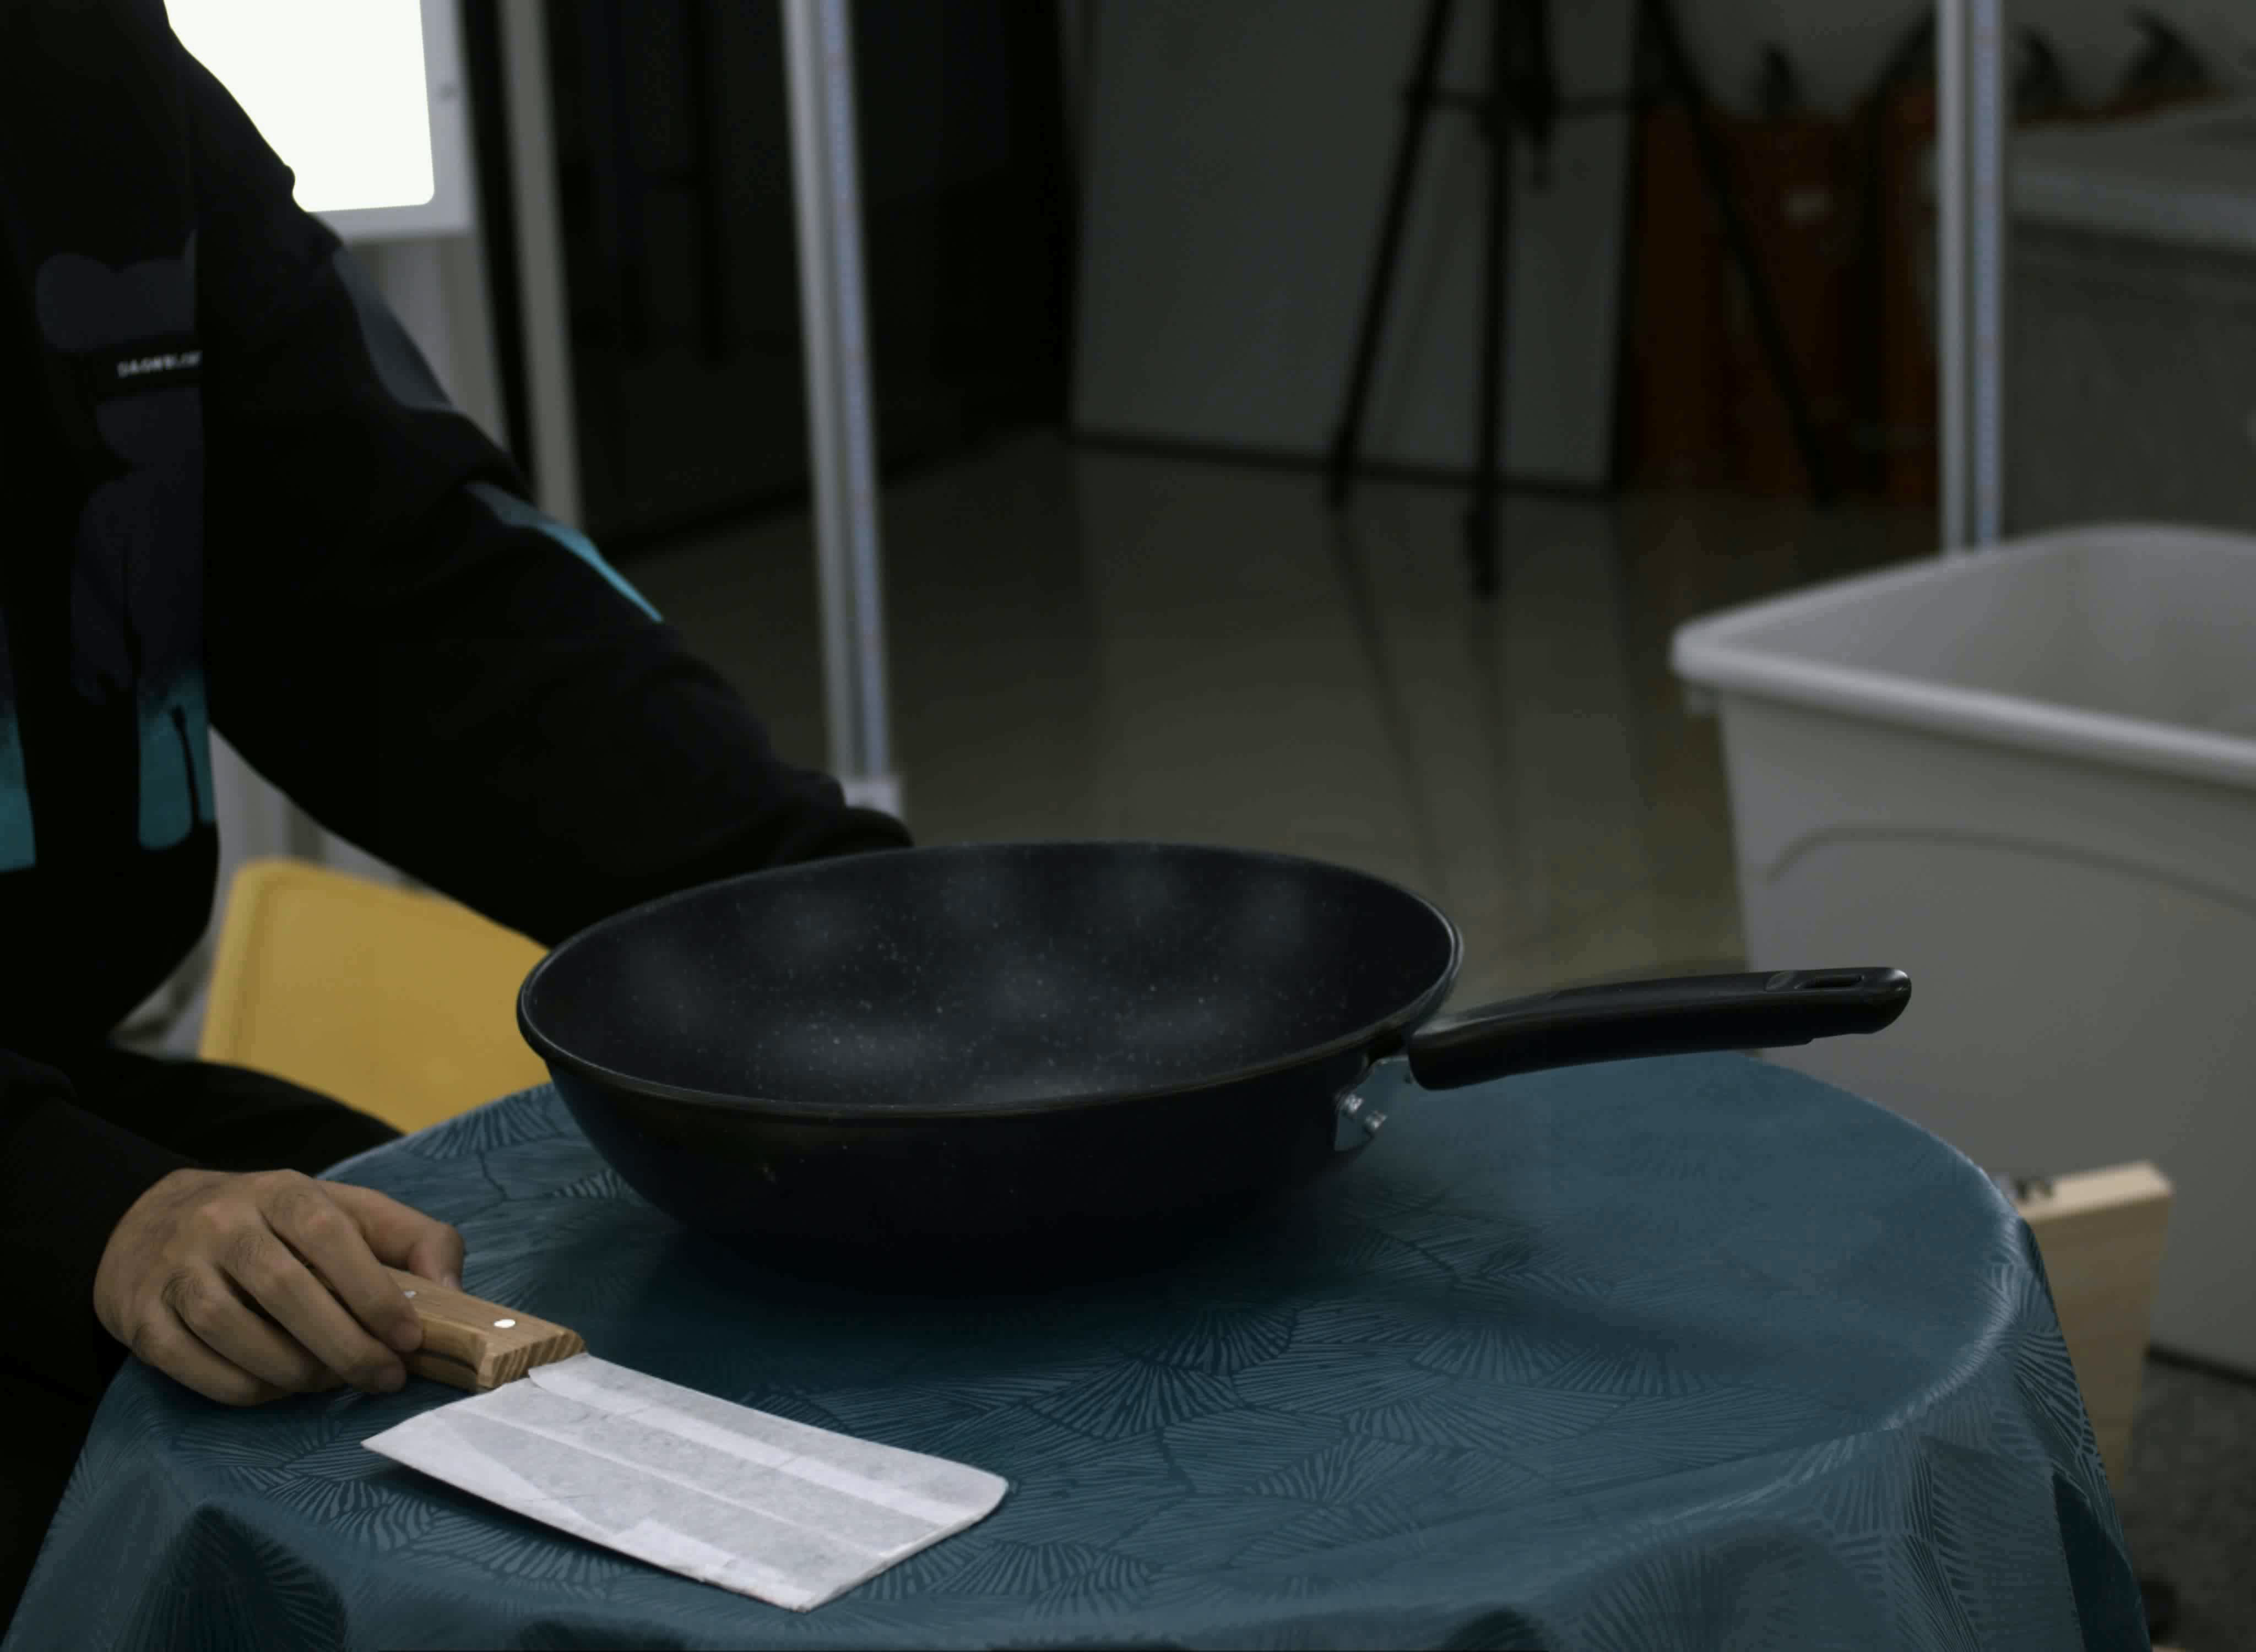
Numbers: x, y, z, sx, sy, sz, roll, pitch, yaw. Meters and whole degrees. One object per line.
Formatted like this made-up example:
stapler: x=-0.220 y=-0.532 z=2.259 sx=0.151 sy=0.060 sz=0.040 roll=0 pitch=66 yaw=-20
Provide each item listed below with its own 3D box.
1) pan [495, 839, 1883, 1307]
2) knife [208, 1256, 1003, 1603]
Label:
pan: x=0.021 y=0.081 z=1.705 sx=0.479 sy=0.113 sz=0.305 roll=4 pitch=18 yaw=32
knife: x=-0.164 y=0.172 z=1.576 sx=0.111 sy=0.022 sz=0.318 roll=-17 pitch=21 yaw=-40
